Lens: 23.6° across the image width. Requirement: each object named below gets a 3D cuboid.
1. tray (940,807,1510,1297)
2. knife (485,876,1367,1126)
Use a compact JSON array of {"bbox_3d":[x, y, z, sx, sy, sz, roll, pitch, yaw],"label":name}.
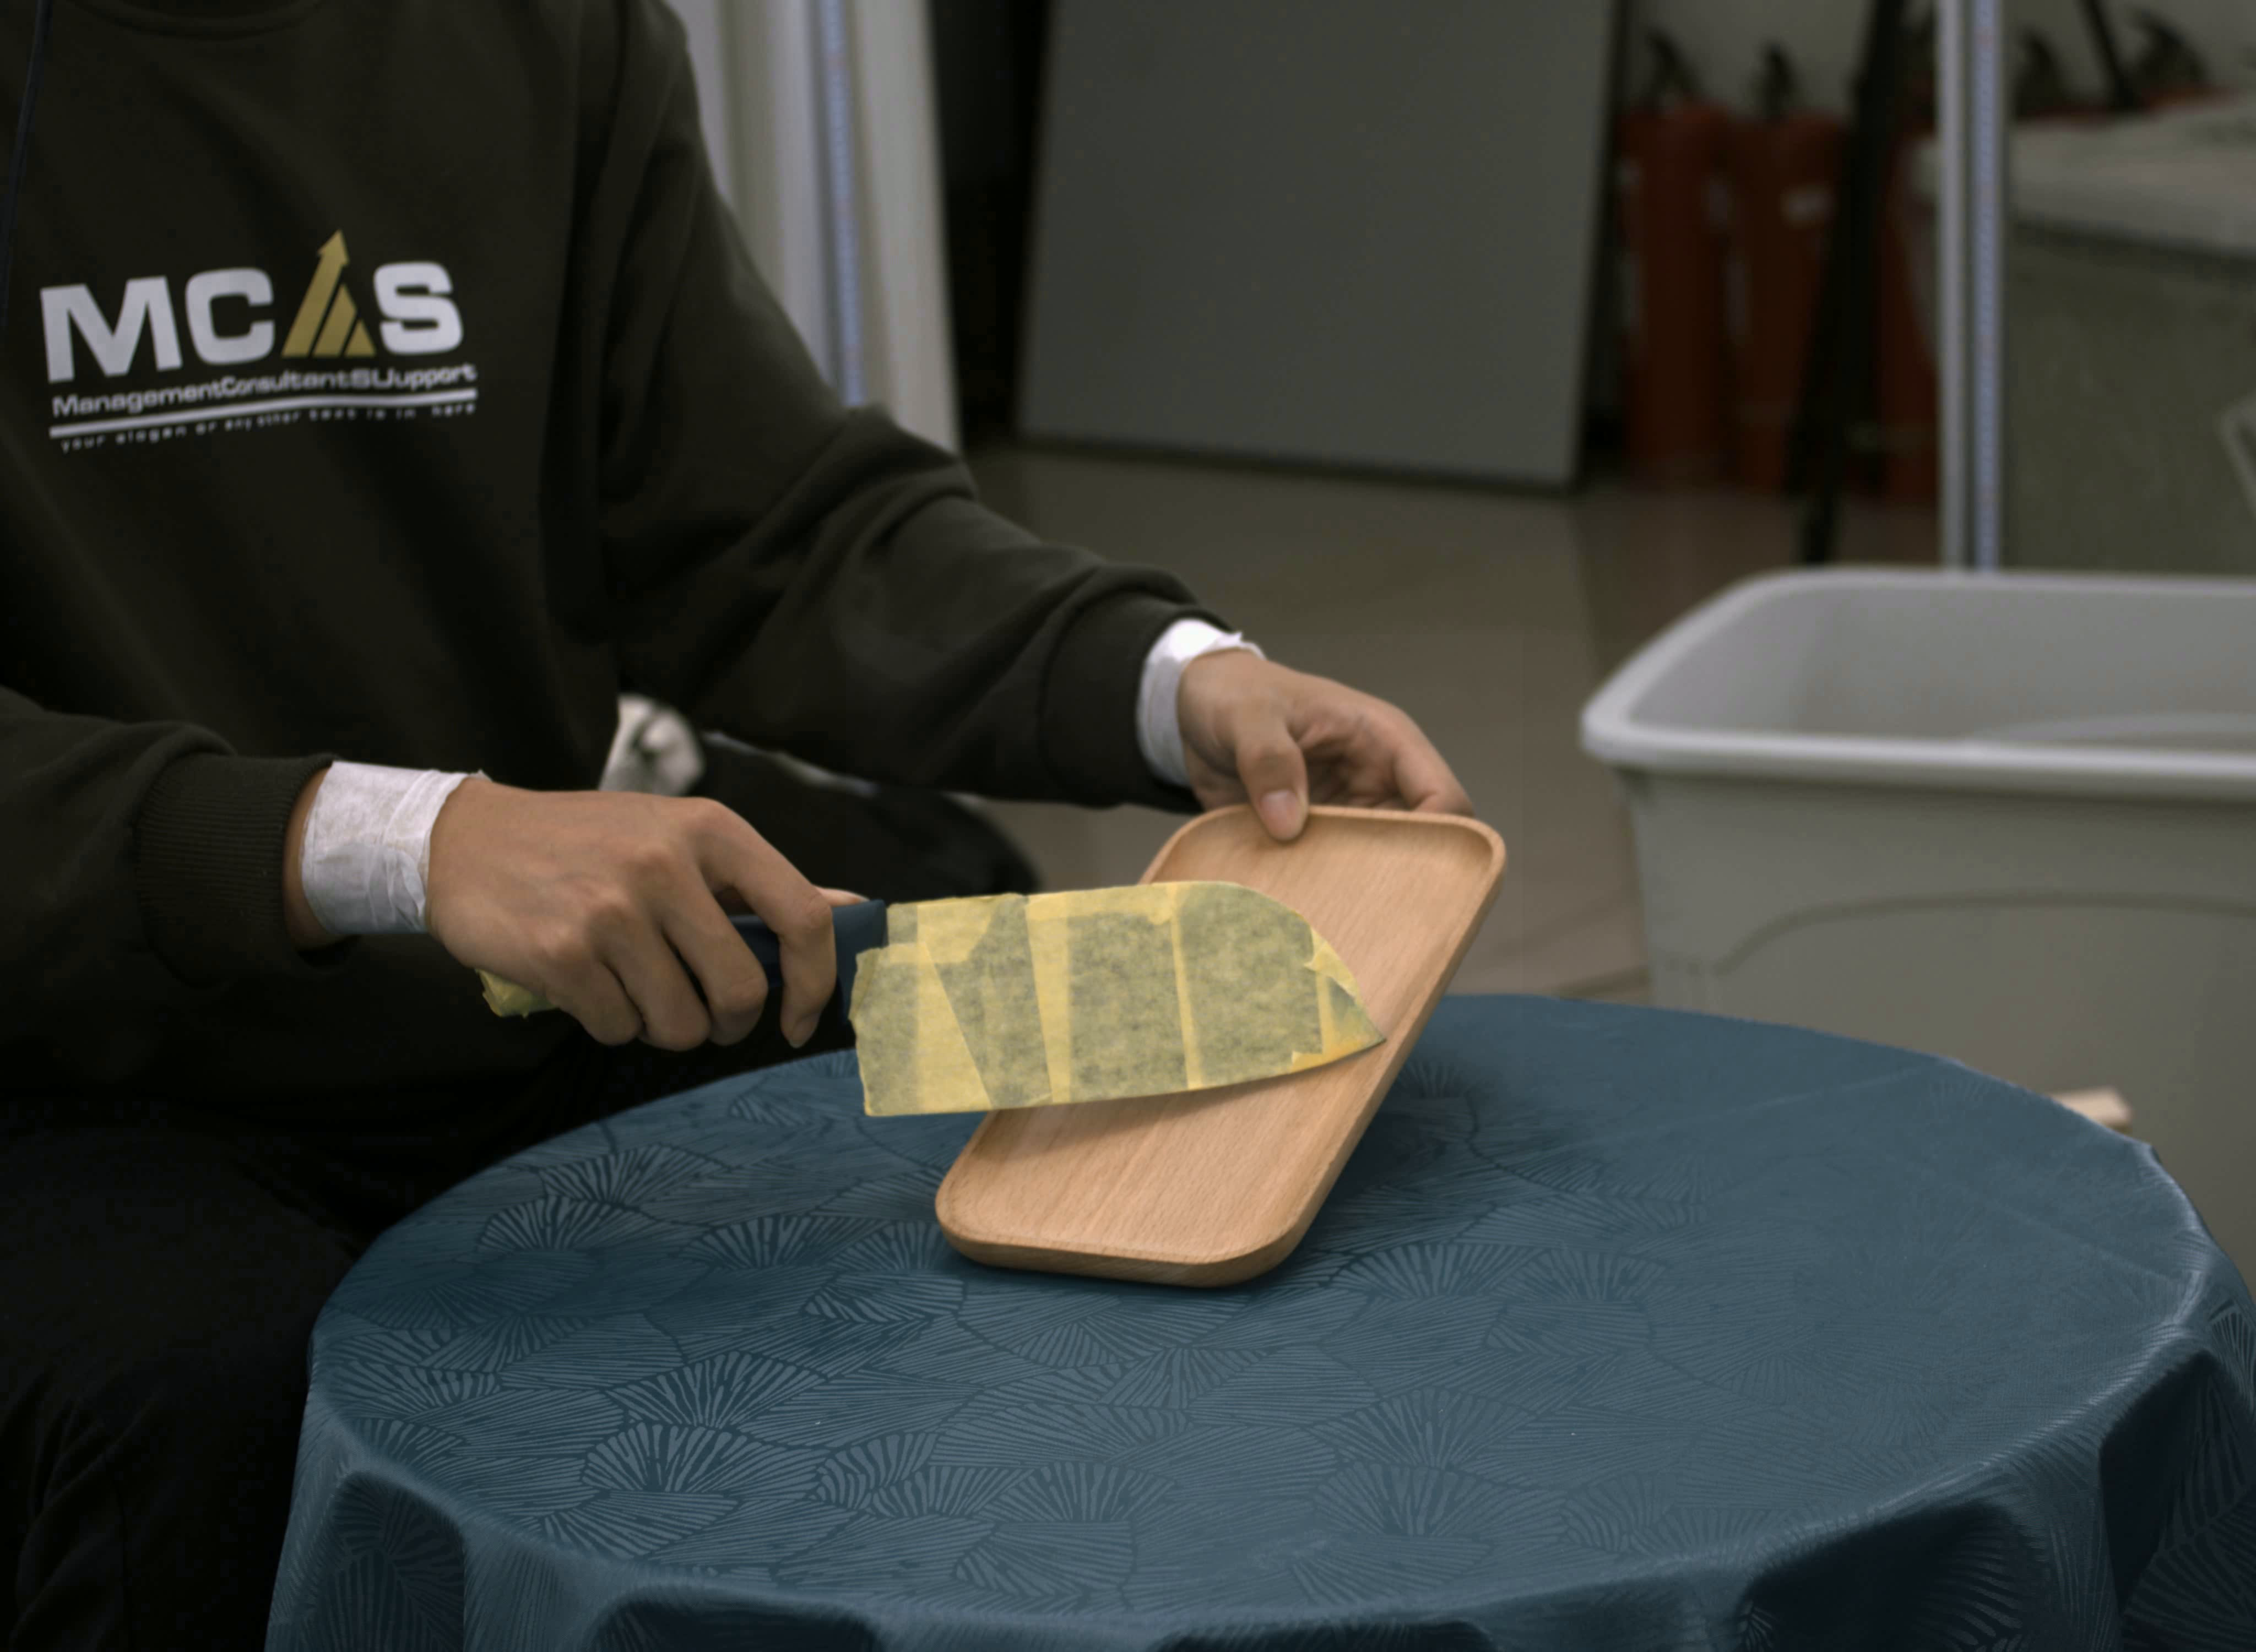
[{"bbox_3d":[0.036,0.071,1.771,0.131,0.023,0.249,0,35,27],"label":"tray"},{"bbox_3d":[-0.064,0.058,1.748,0.285,0.082,0.027,-3,-23,-1],"label":"knife"}]
